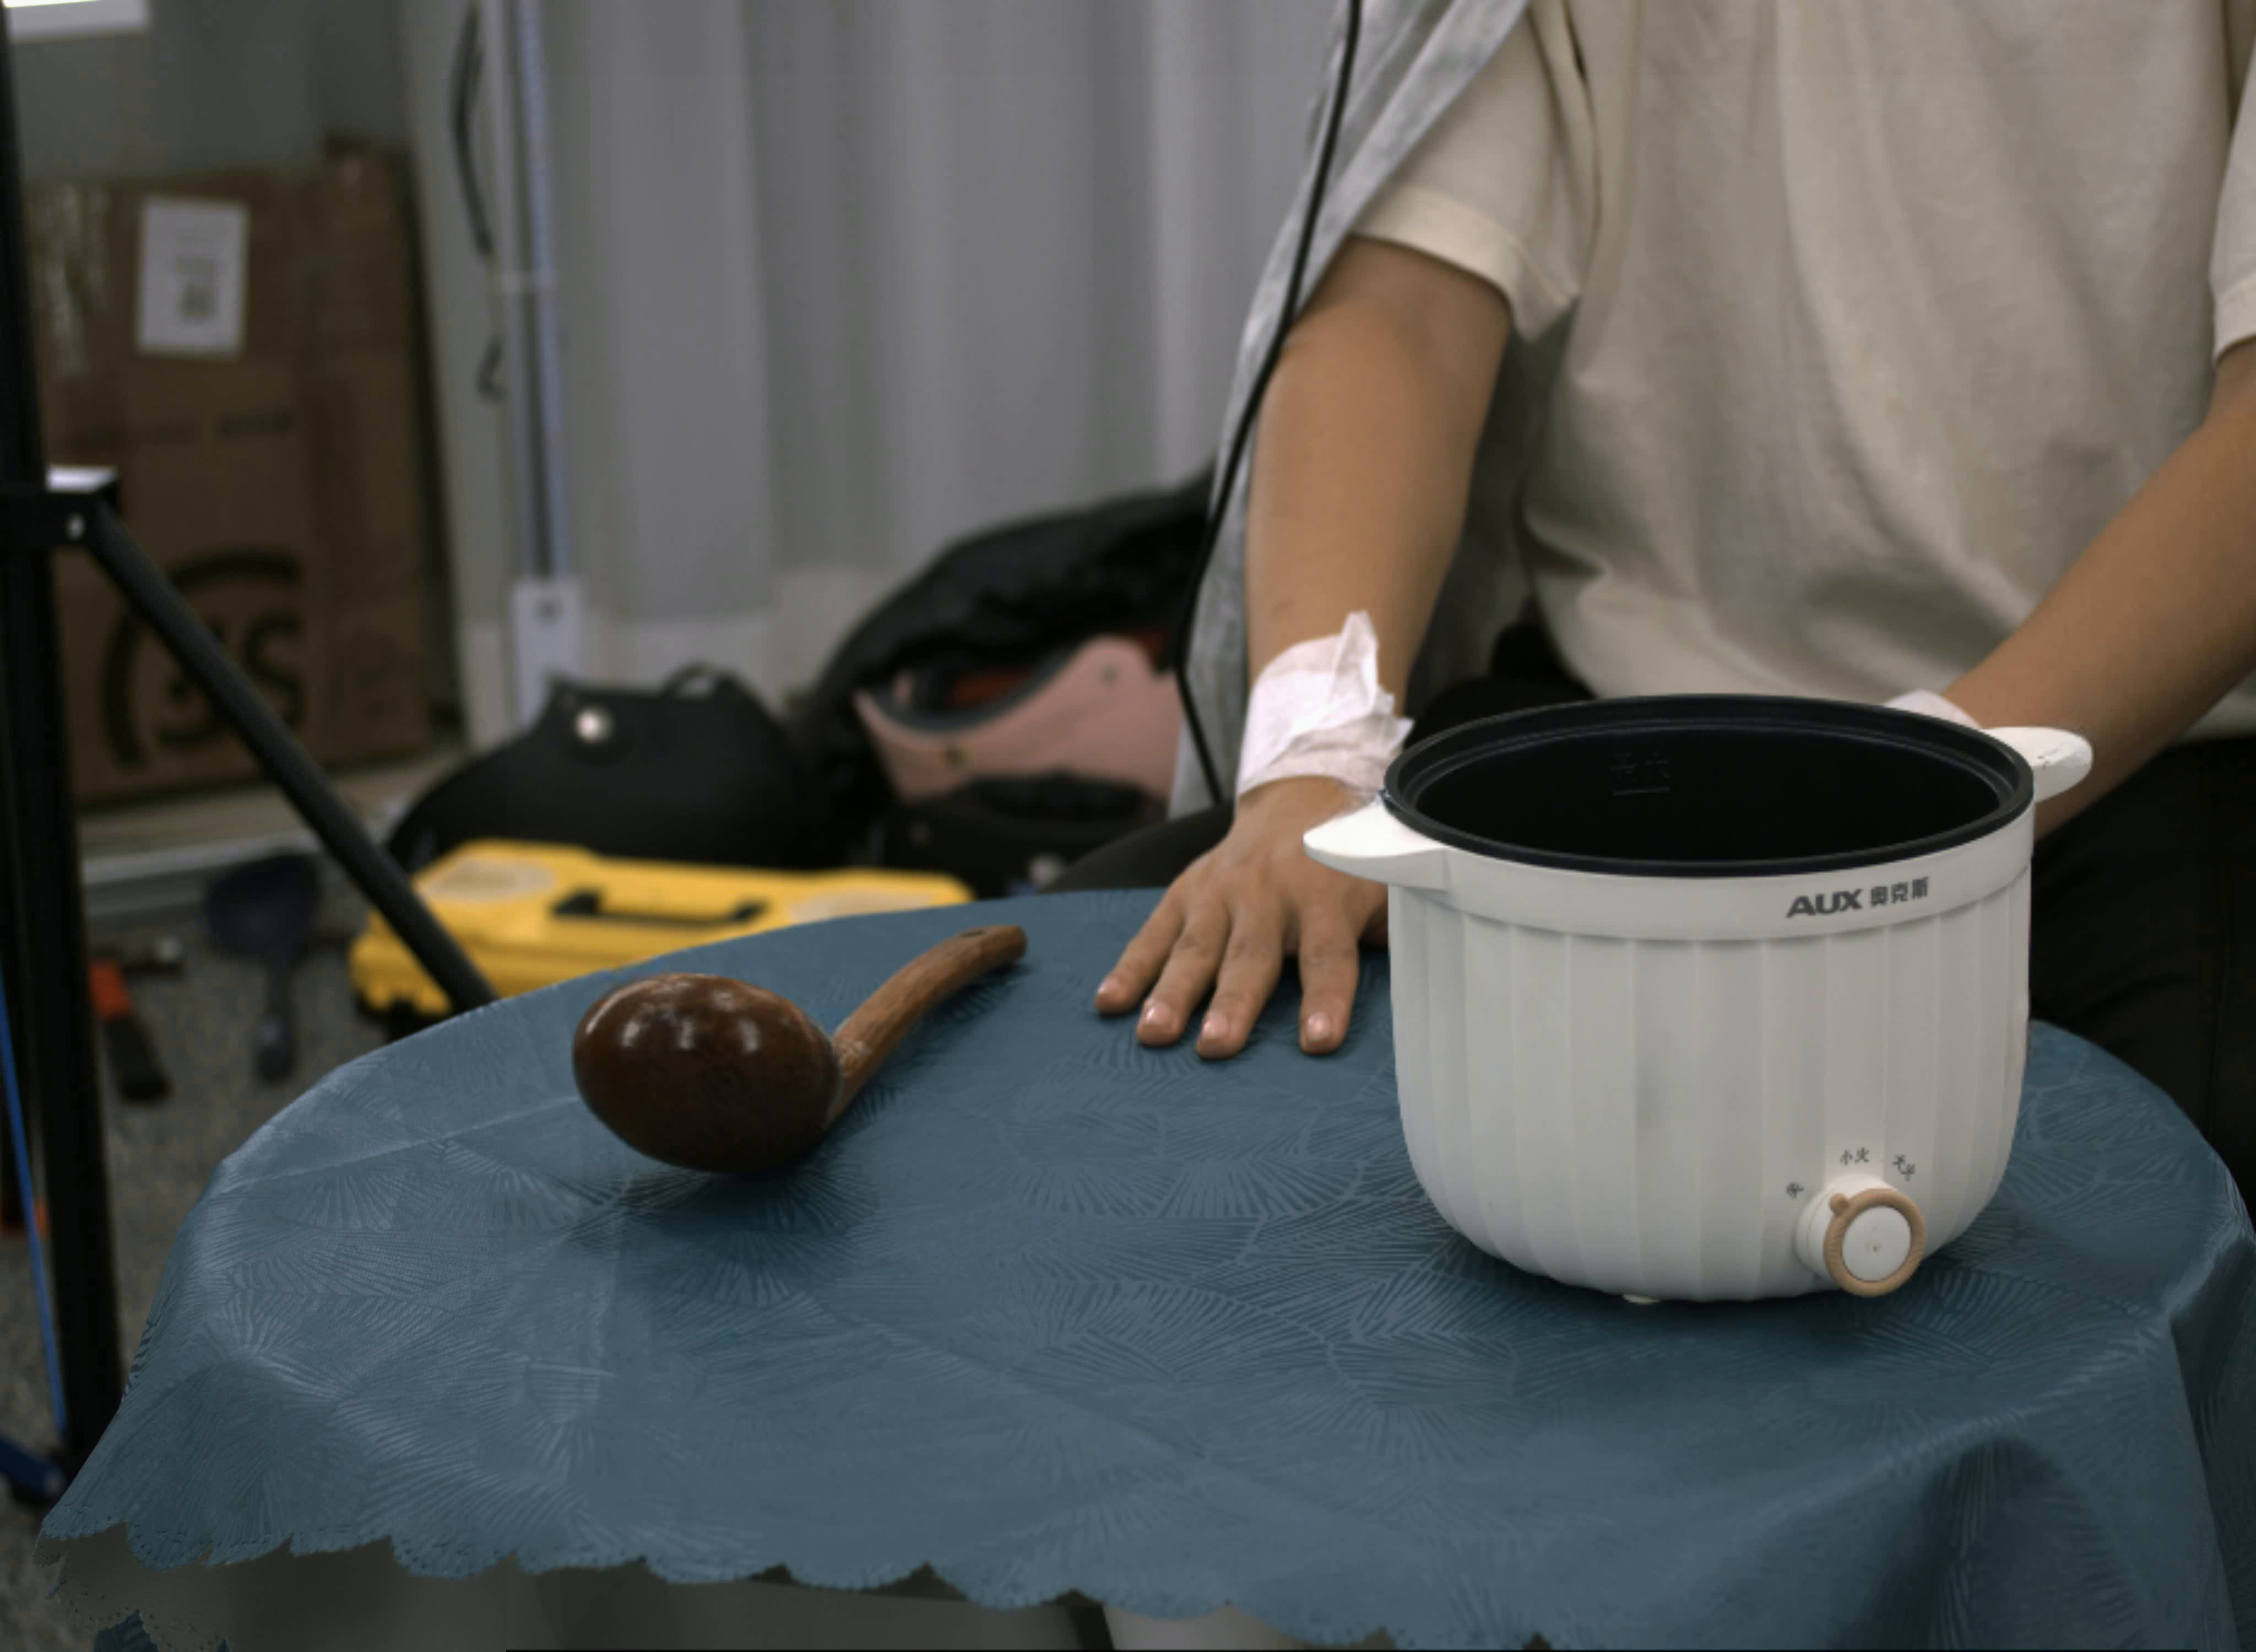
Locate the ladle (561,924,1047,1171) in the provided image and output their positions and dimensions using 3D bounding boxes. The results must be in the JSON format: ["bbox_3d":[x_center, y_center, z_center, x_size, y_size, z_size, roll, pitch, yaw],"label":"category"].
[{"bbox_3d":[-0.091,0.044,1.656,0.083,0.076,0.271,-5,14,22],"label":"ladle"}]

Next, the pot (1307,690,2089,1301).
[{"bbox_3d":[0.166,0.050,1.478,0.236,0.143,0.194,-9,13,-18],"label":"pot"}]
